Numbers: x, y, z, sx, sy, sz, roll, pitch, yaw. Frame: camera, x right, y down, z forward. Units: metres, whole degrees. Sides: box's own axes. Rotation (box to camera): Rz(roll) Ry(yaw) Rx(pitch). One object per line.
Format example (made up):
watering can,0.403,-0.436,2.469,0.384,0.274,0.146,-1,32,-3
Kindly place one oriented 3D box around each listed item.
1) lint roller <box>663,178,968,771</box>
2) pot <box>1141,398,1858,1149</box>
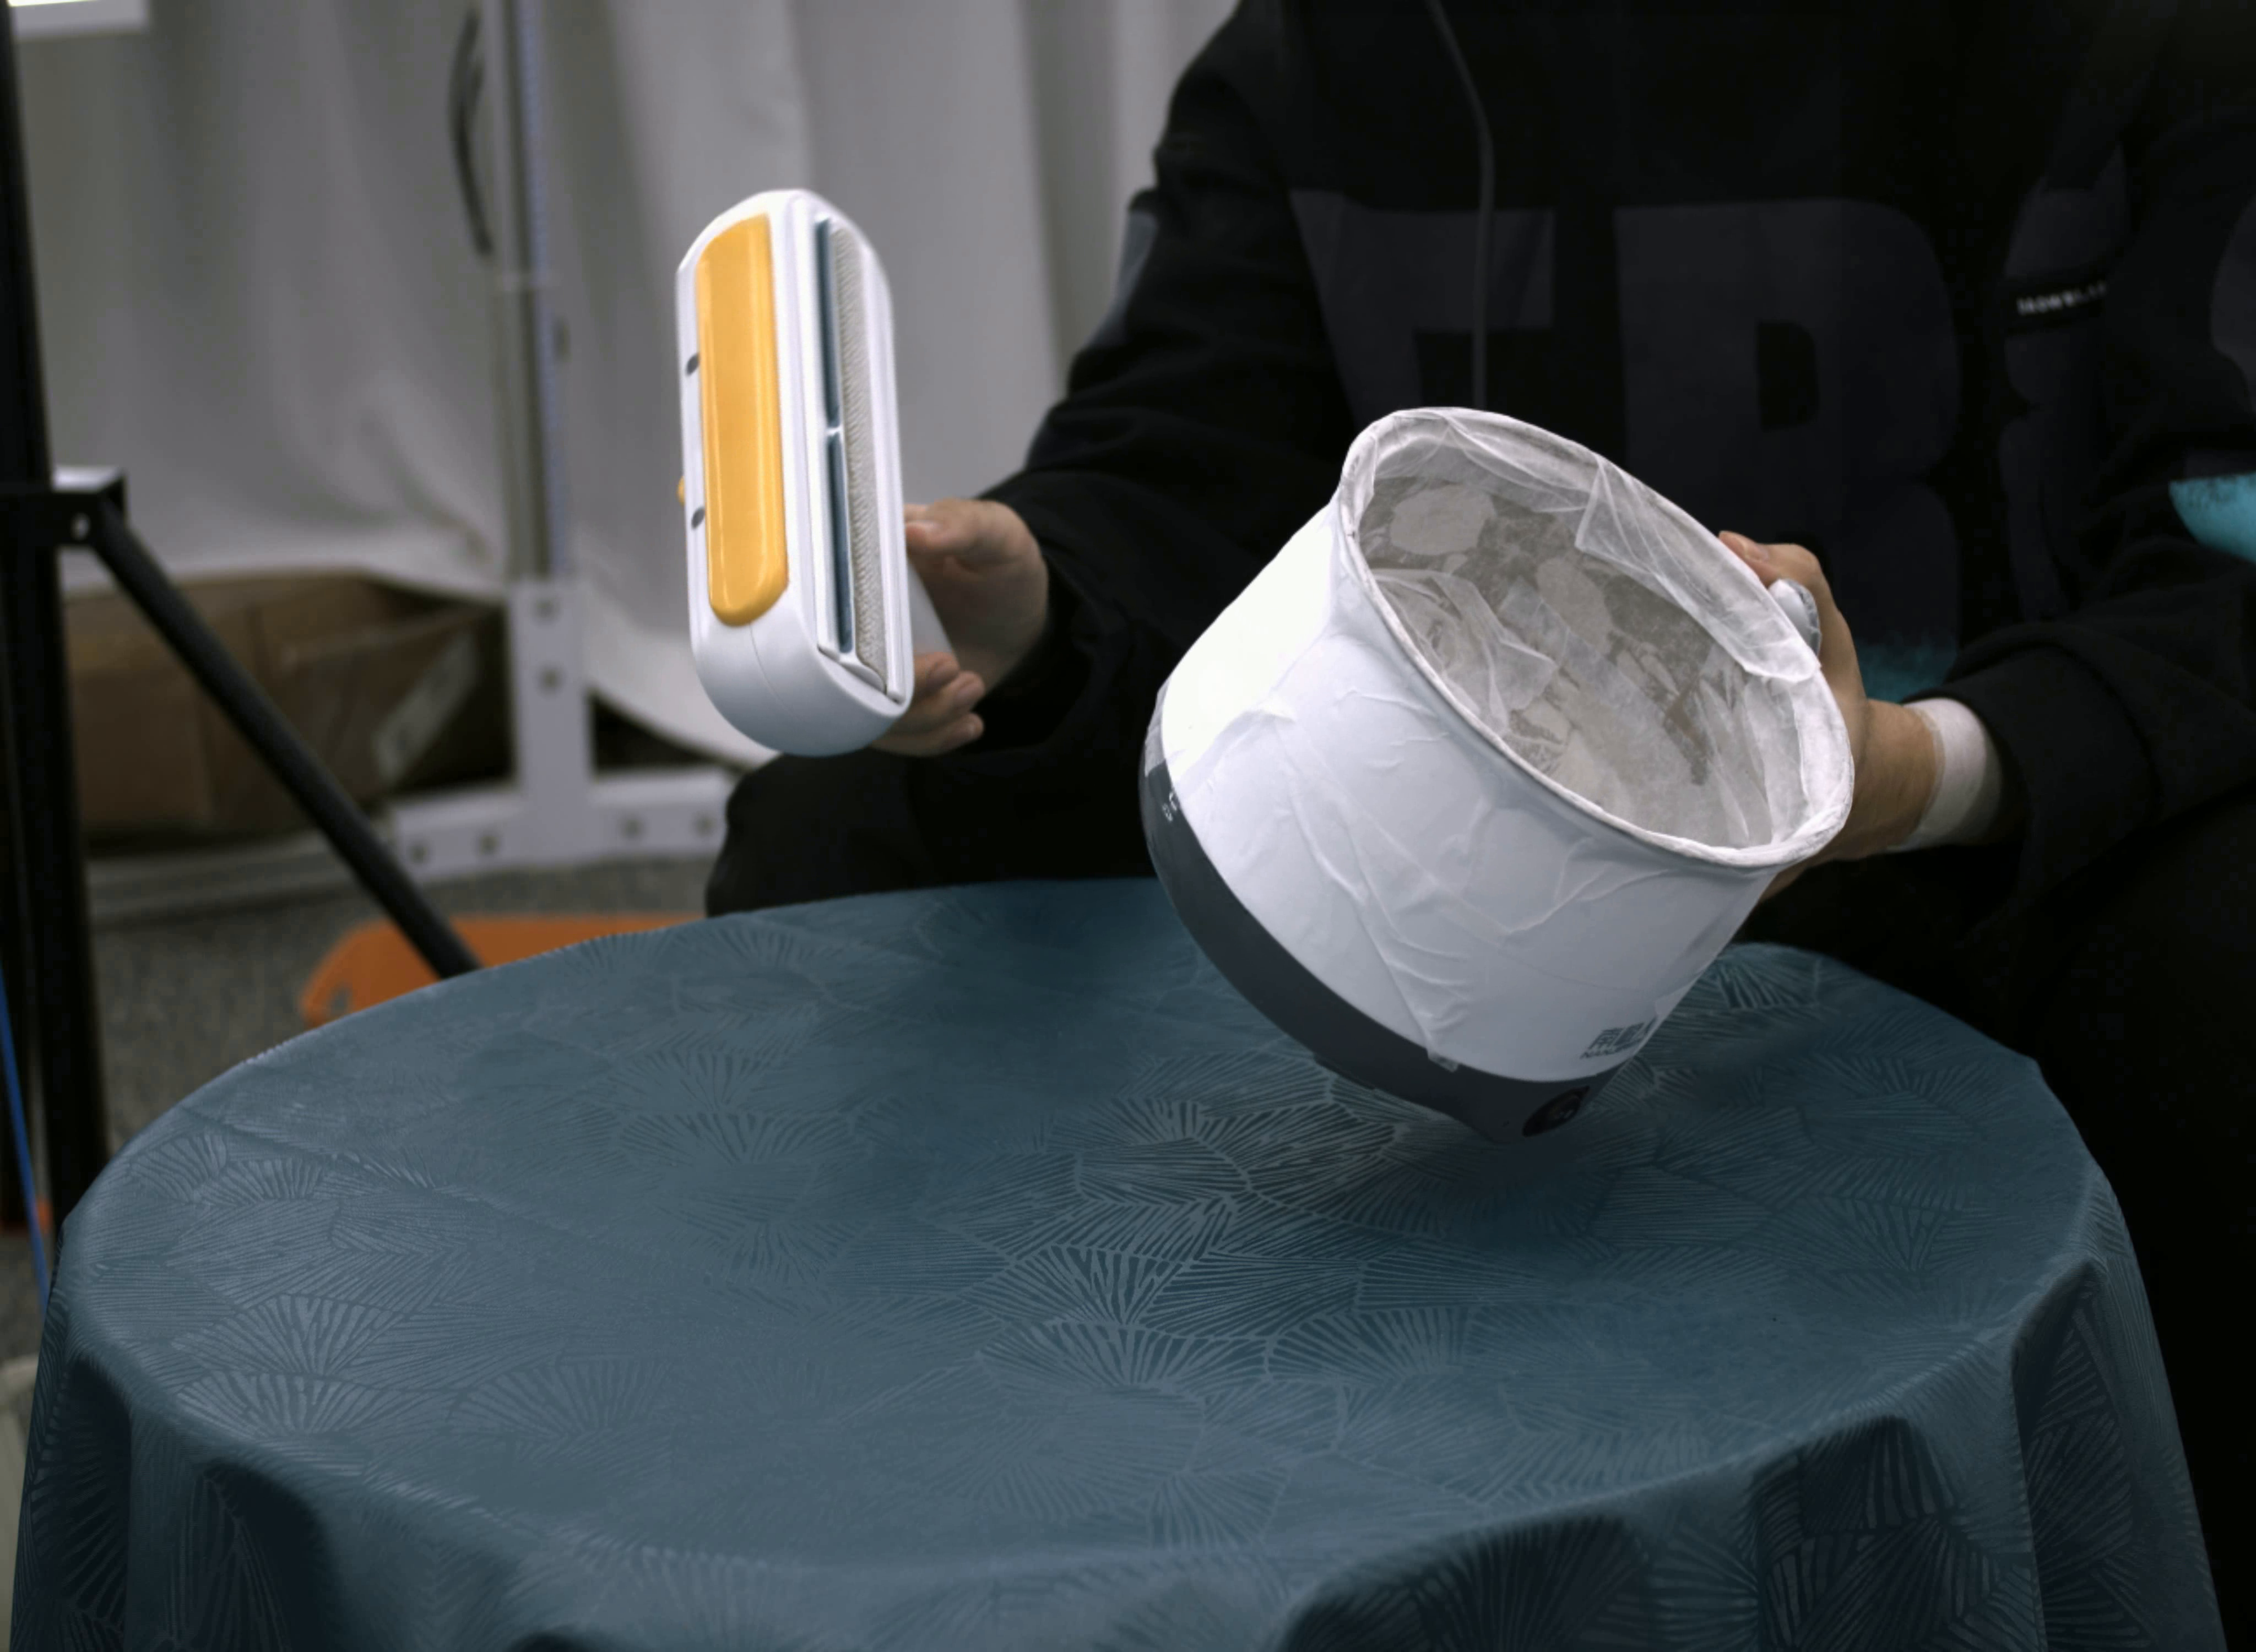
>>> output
lint roller,-0.086,-0.084,1.709,0.075,0.188,0.195,-22,51,17
pot,0.120,-0.018,1.556,0.228,0.138,0.181,-11,58,-47
